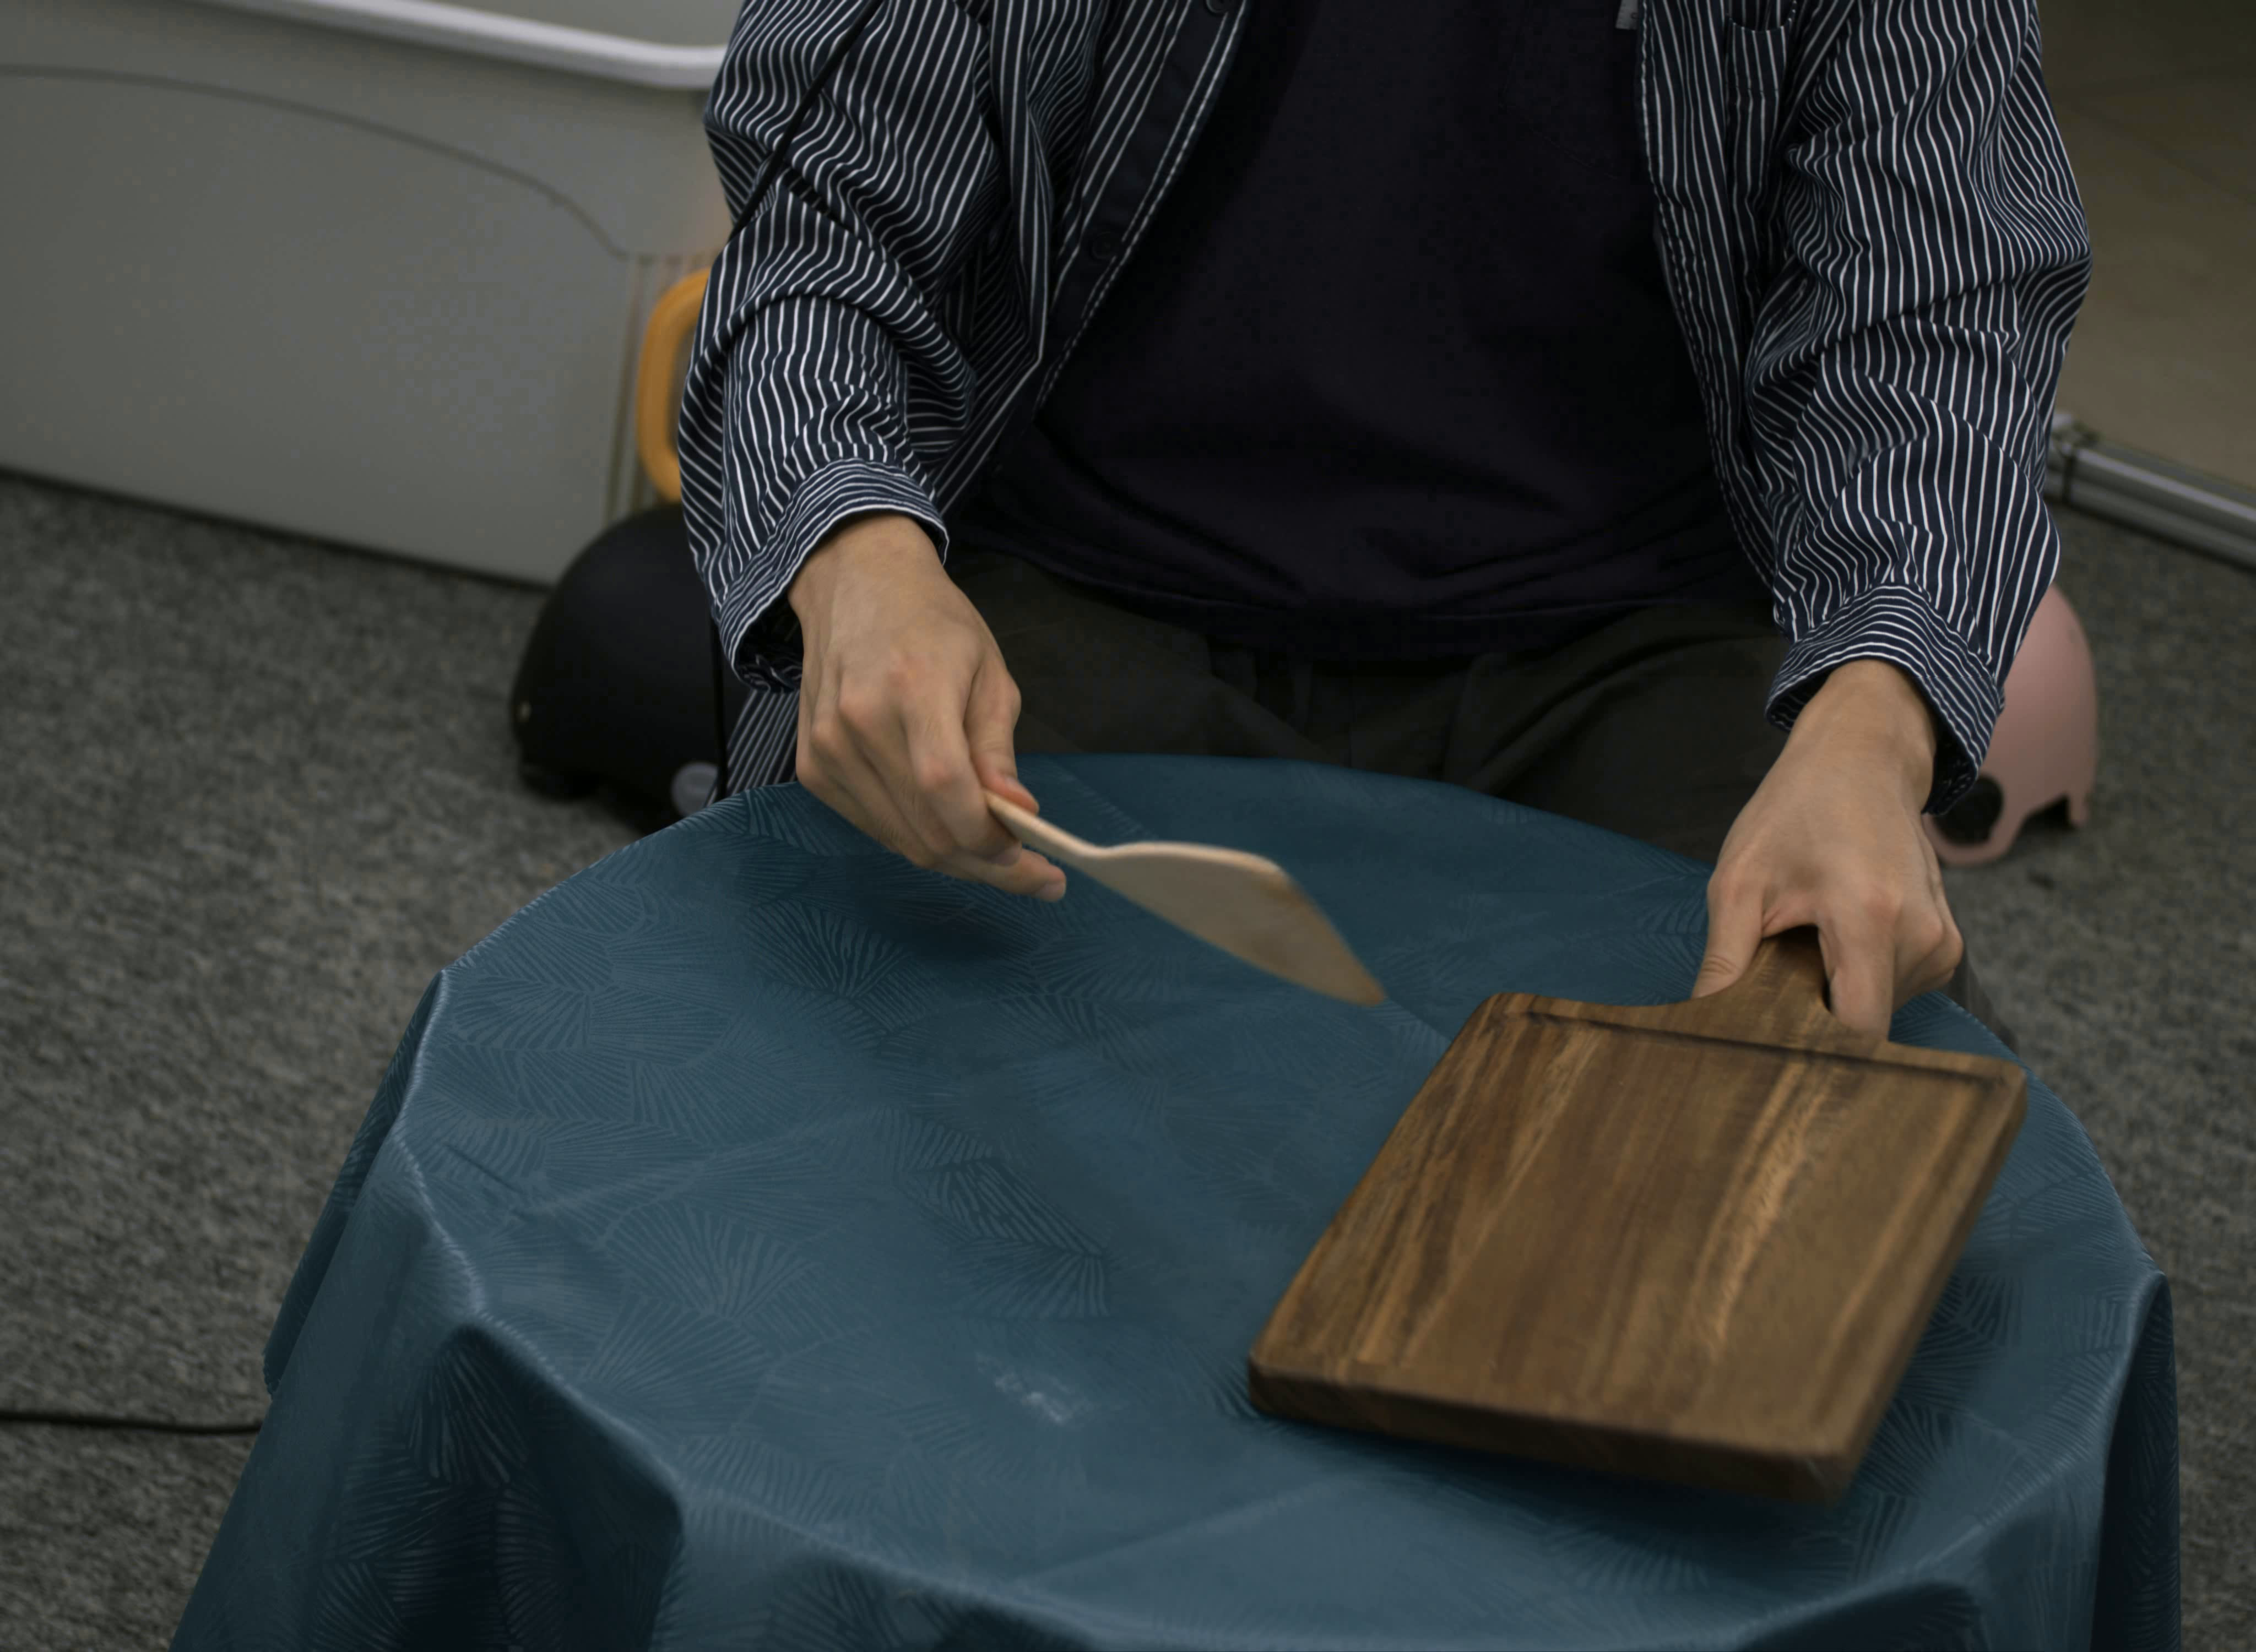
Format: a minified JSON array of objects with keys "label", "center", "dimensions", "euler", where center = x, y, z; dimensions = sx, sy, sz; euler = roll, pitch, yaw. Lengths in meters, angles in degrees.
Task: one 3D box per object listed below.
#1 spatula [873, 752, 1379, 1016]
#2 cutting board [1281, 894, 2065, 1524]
[{"label":"spatula","center":[-0.012,0.010,1.824],"dimensions":[0.079,0.016,0.330],"euler":[44,-9,-28]},{"label":"cutting board","center":[0.201,0.114,1.779],"dimensions":[0.201,0.023,0.352],"euler":[8,30,22]}]
